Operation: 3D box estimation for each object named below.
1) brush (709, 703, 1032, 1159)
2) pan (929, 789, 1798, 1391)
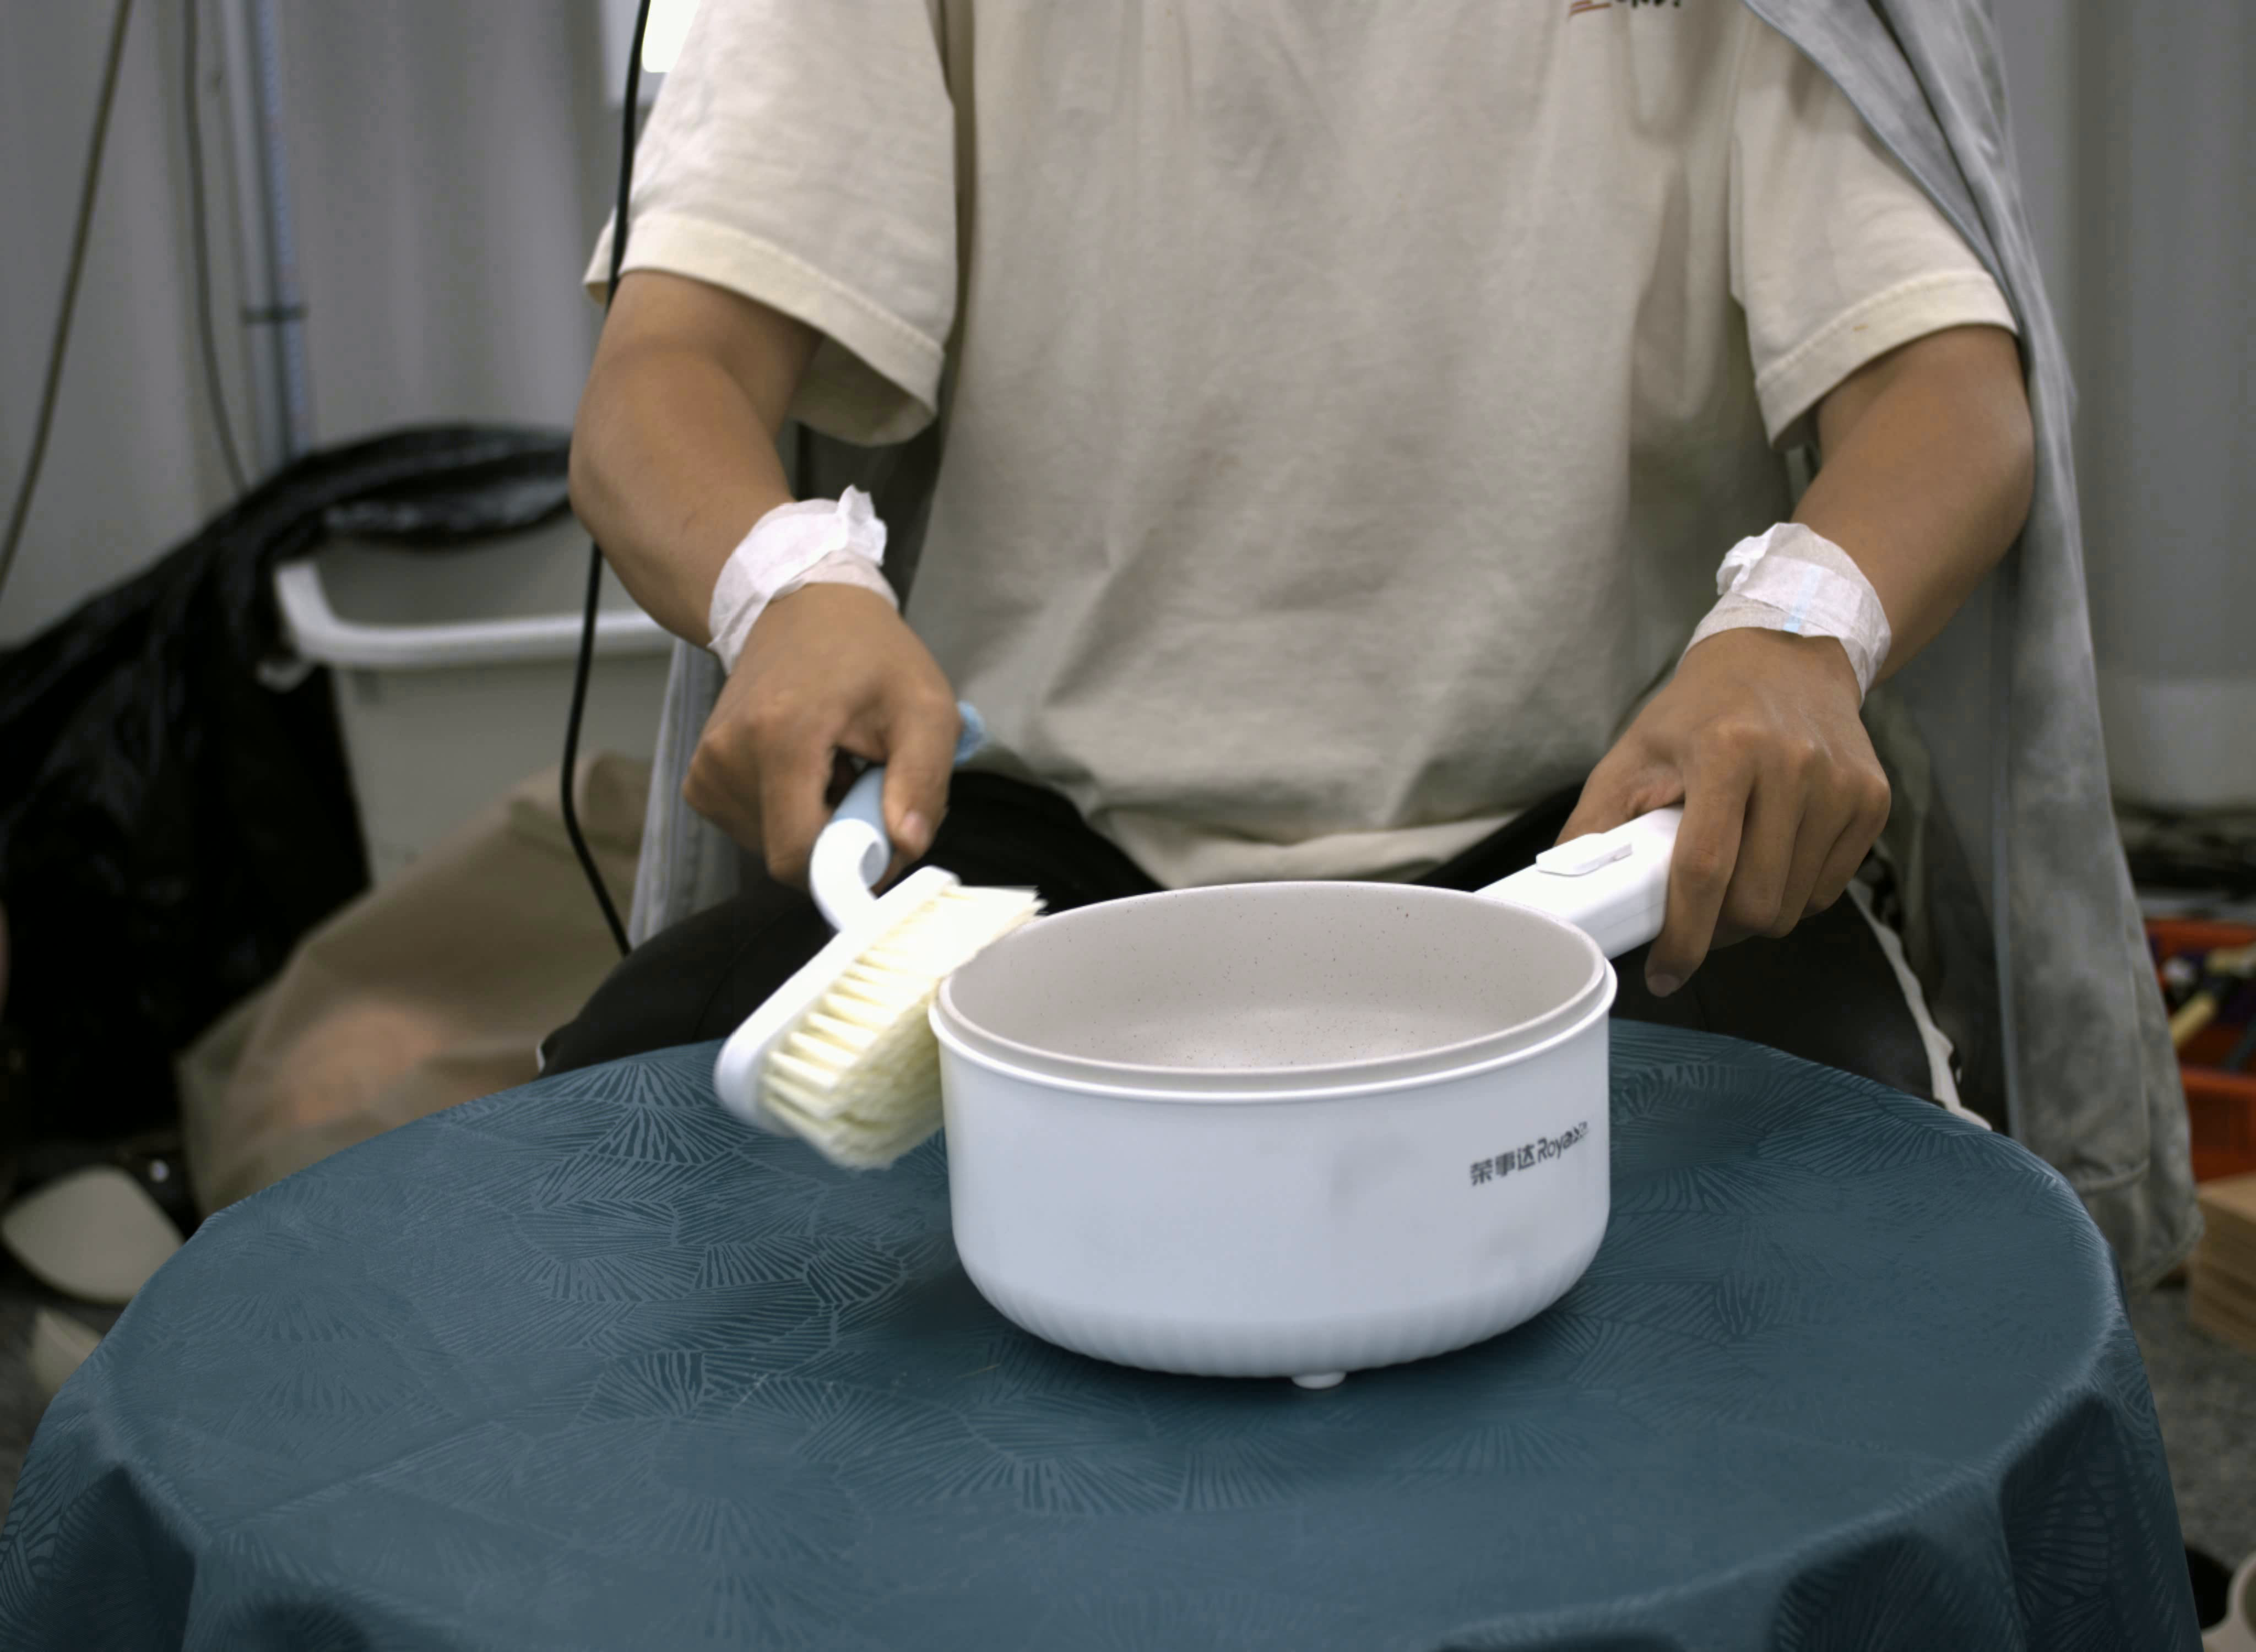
[{"bbox_3d":[-0.056,0.023,1.724,0.083,0.084,0.327,-36,9,19],"label":"brush"},{"bbox_3d":[0.092,0.074,1.663,0.202,0.102,0.354,8,18,38],"label":"pan"}]
